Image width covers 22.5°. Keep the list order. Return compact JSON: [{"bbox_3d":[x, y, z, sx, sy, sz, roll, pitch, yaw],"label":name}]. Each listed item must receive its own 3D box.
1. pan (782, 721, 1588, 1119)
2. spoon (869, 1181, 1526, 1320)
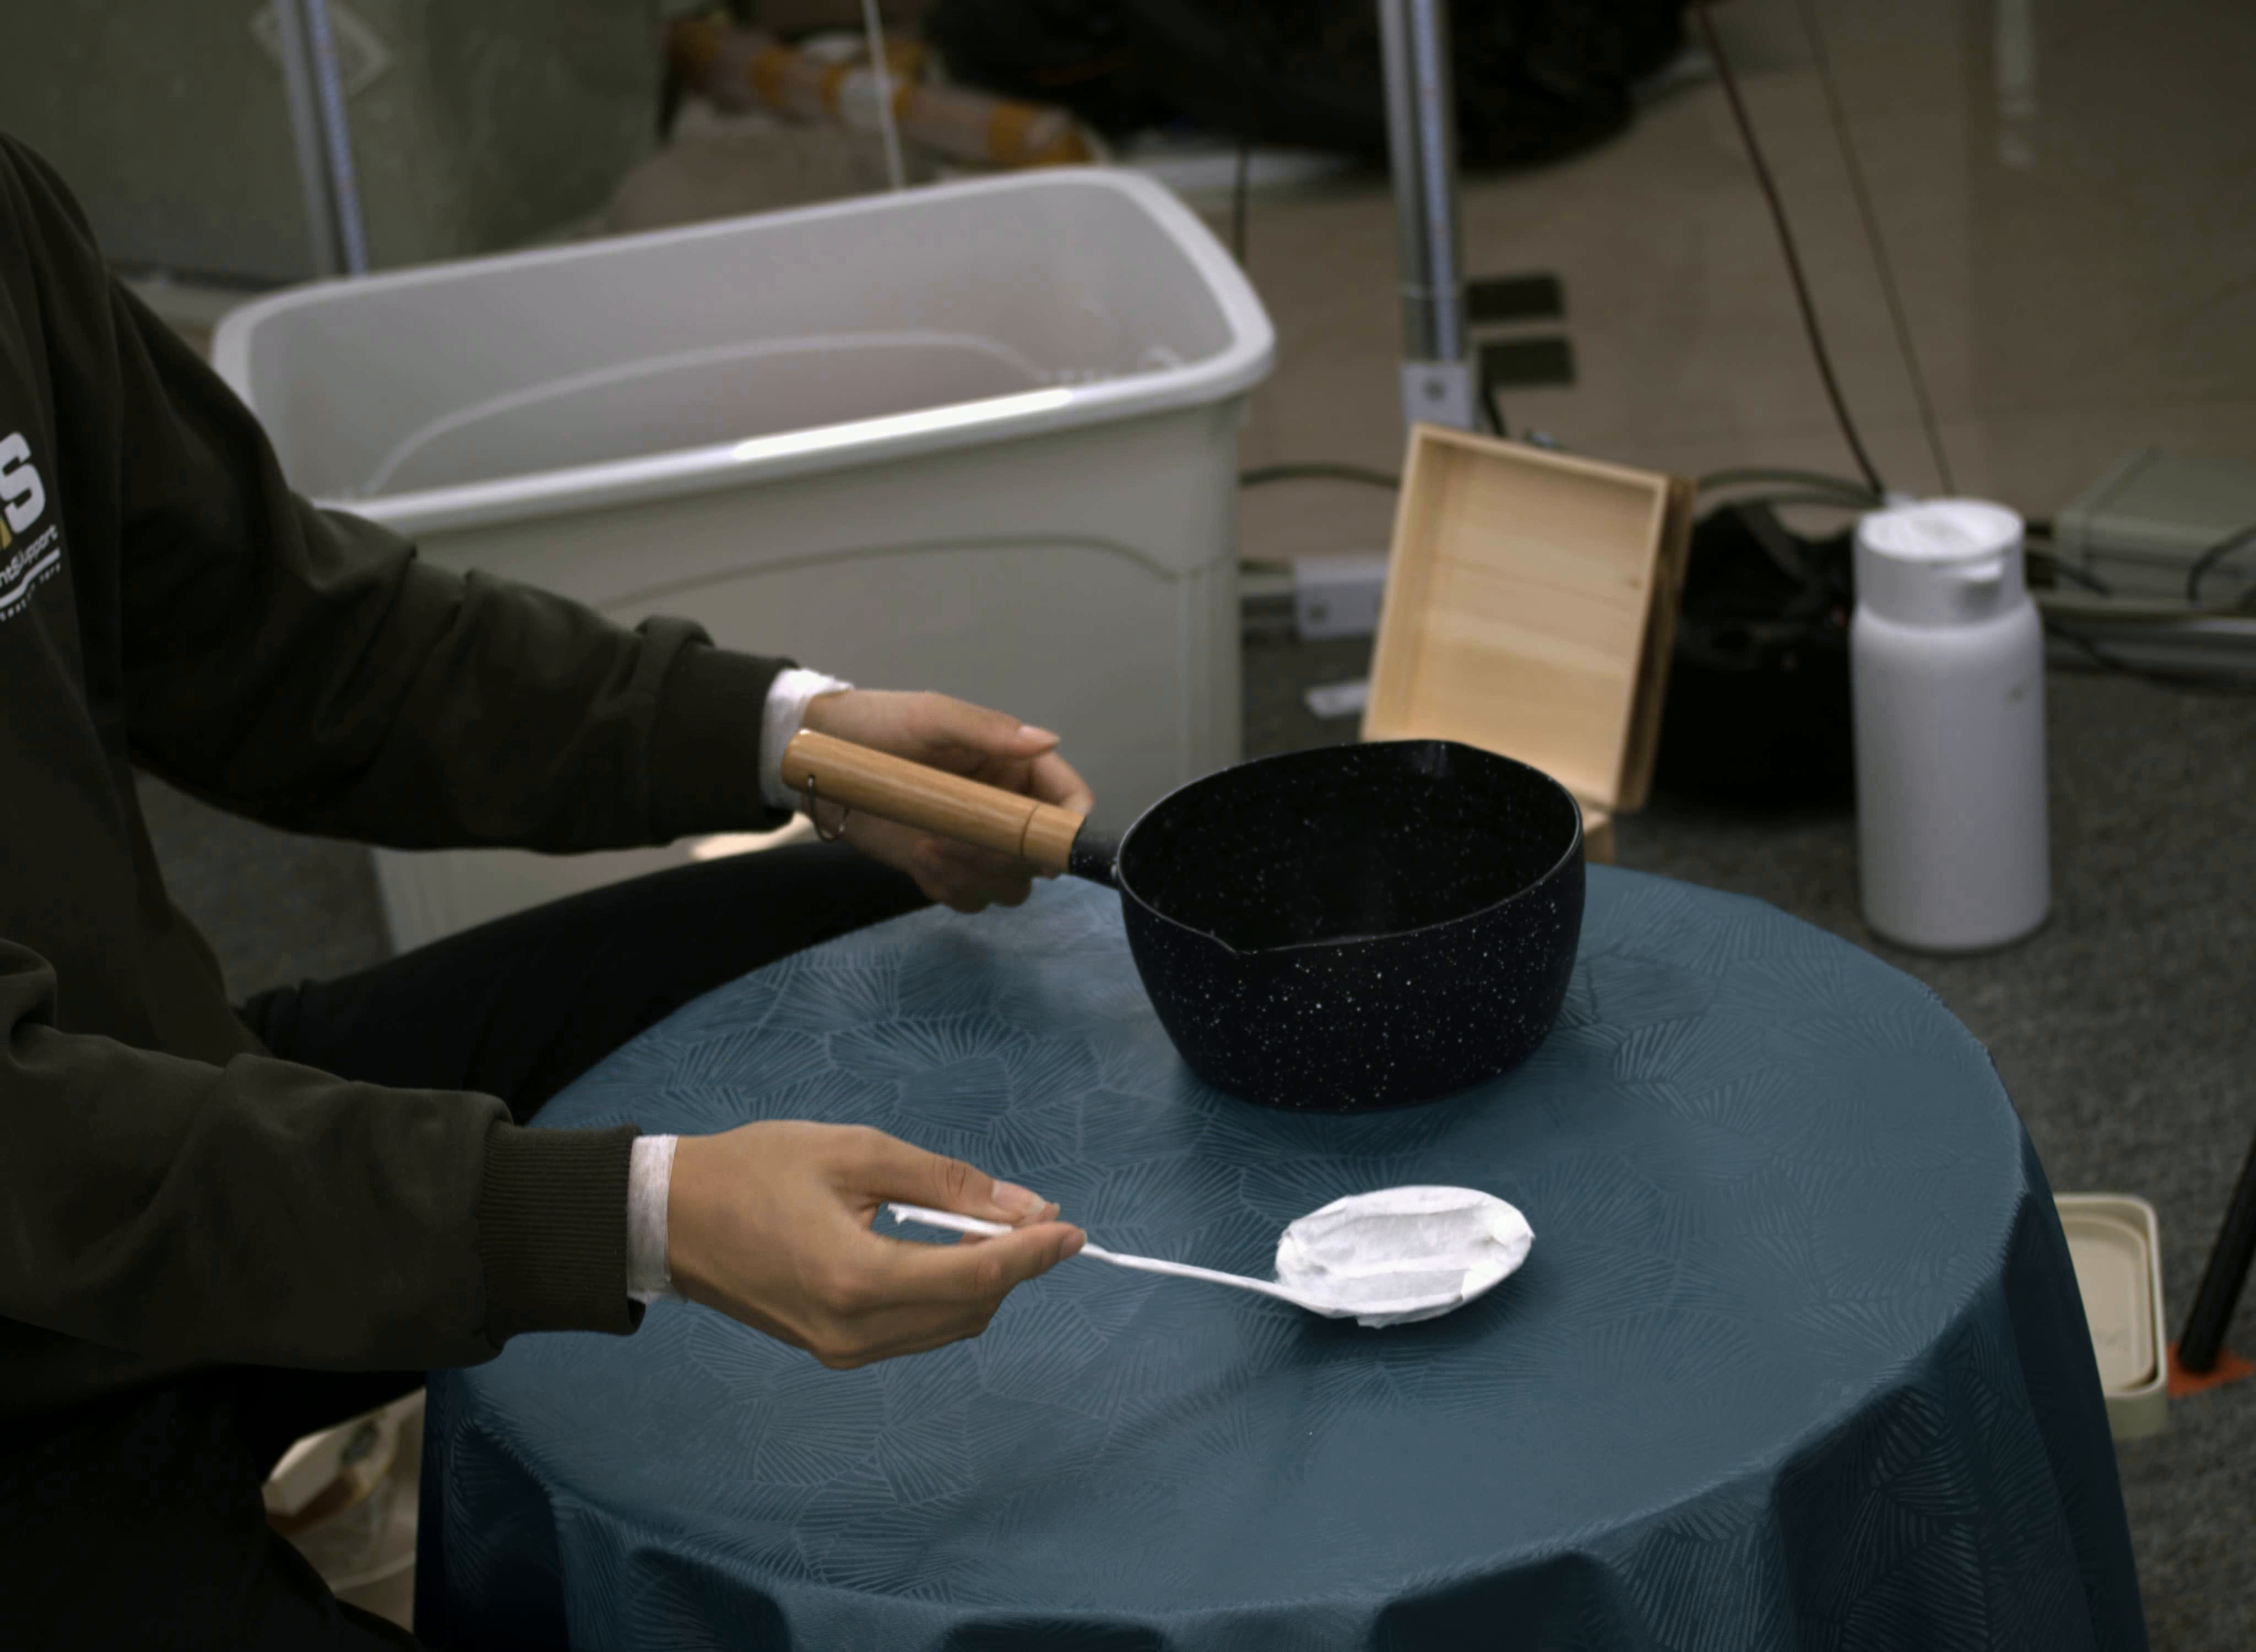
[{"bbox_3d":[0.017,0.026,2.262,0.341,0.110,0.205,6,29,23],"label":"pan"},{"bbox_3d":[0.022,0.129,1.994,0.279,0.059,0.100,17,-1,-39],"label":"spoon"}]
